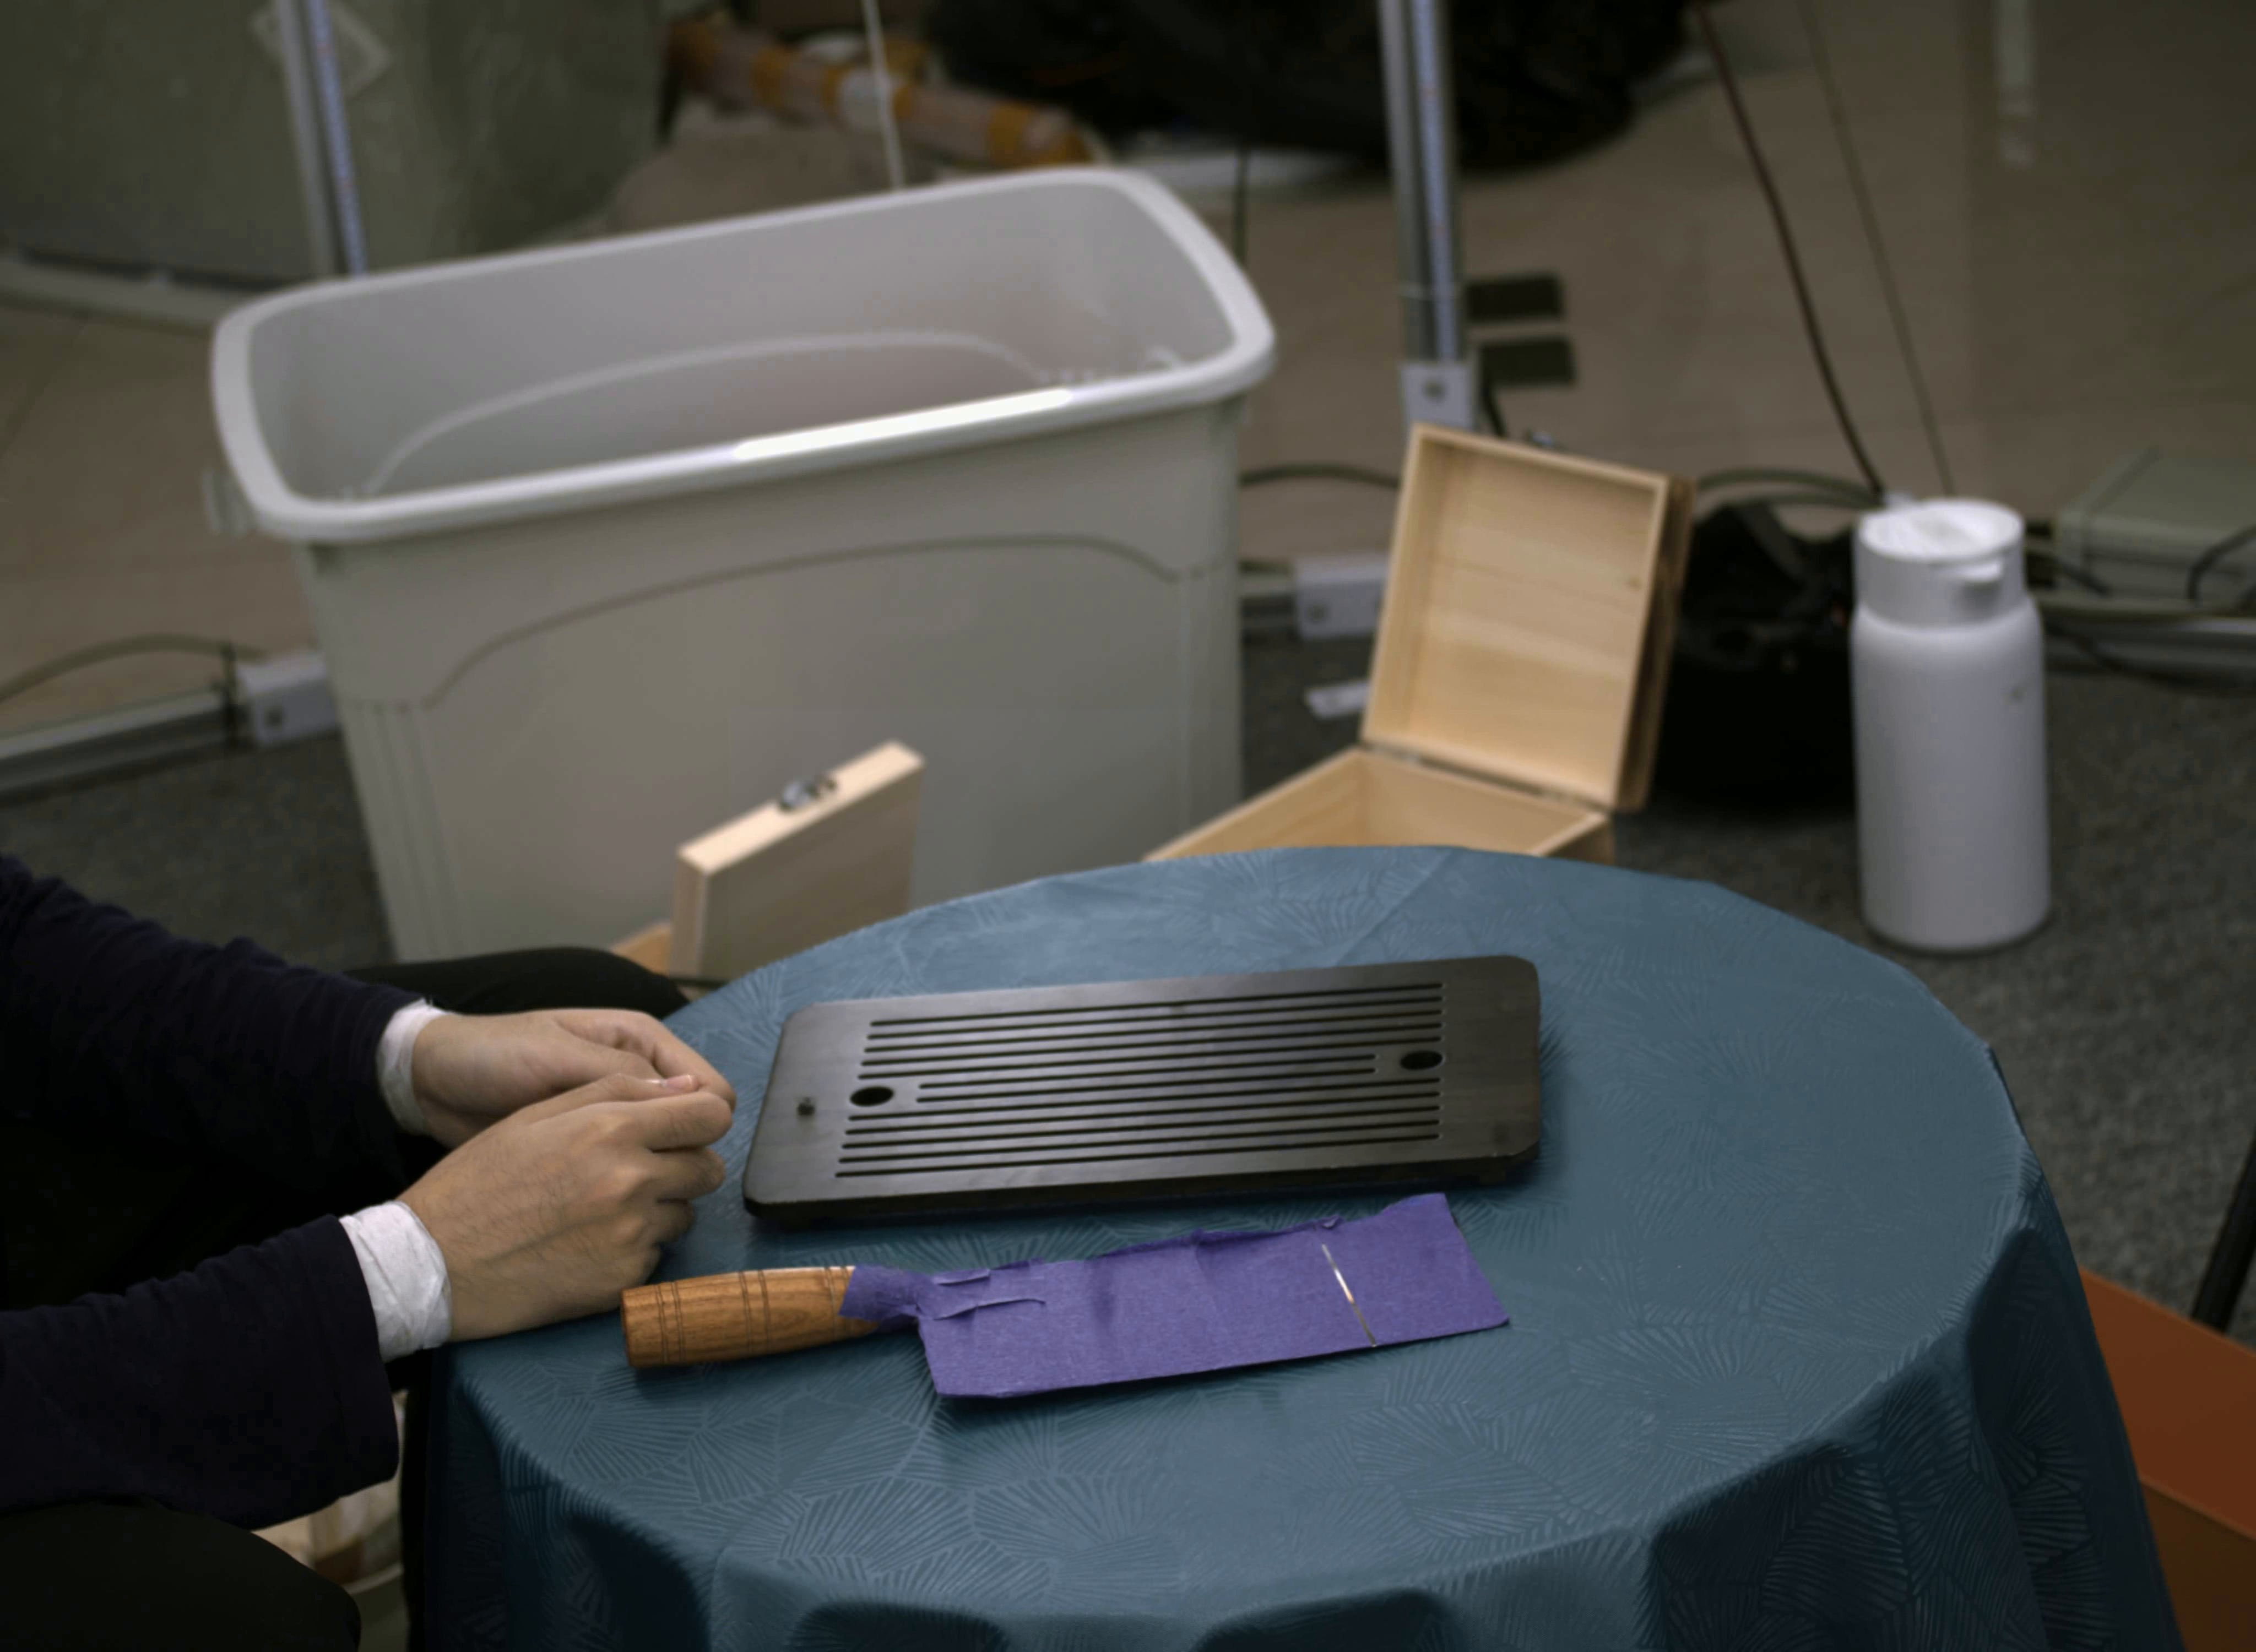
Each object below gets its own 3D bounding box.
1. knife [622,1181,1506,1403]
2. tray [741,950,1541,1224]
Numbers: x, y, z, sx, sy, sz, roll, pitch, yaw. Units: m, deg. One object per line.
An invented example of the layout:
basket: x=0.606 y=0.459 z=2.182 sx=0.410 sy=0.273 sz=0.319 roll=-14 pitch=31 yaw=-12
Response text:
knife: x=-0.023 y=0.174 z=2.049 sx=0.314 sy=0.033 sz=0.102 roll=-9 pitch=25 yaw=-7
tray: x=0.008 y=0.102 z=2.207 sx=0.305 sy=0.019 sz=0.167 roll=-4 pitch=25 yaw=6
